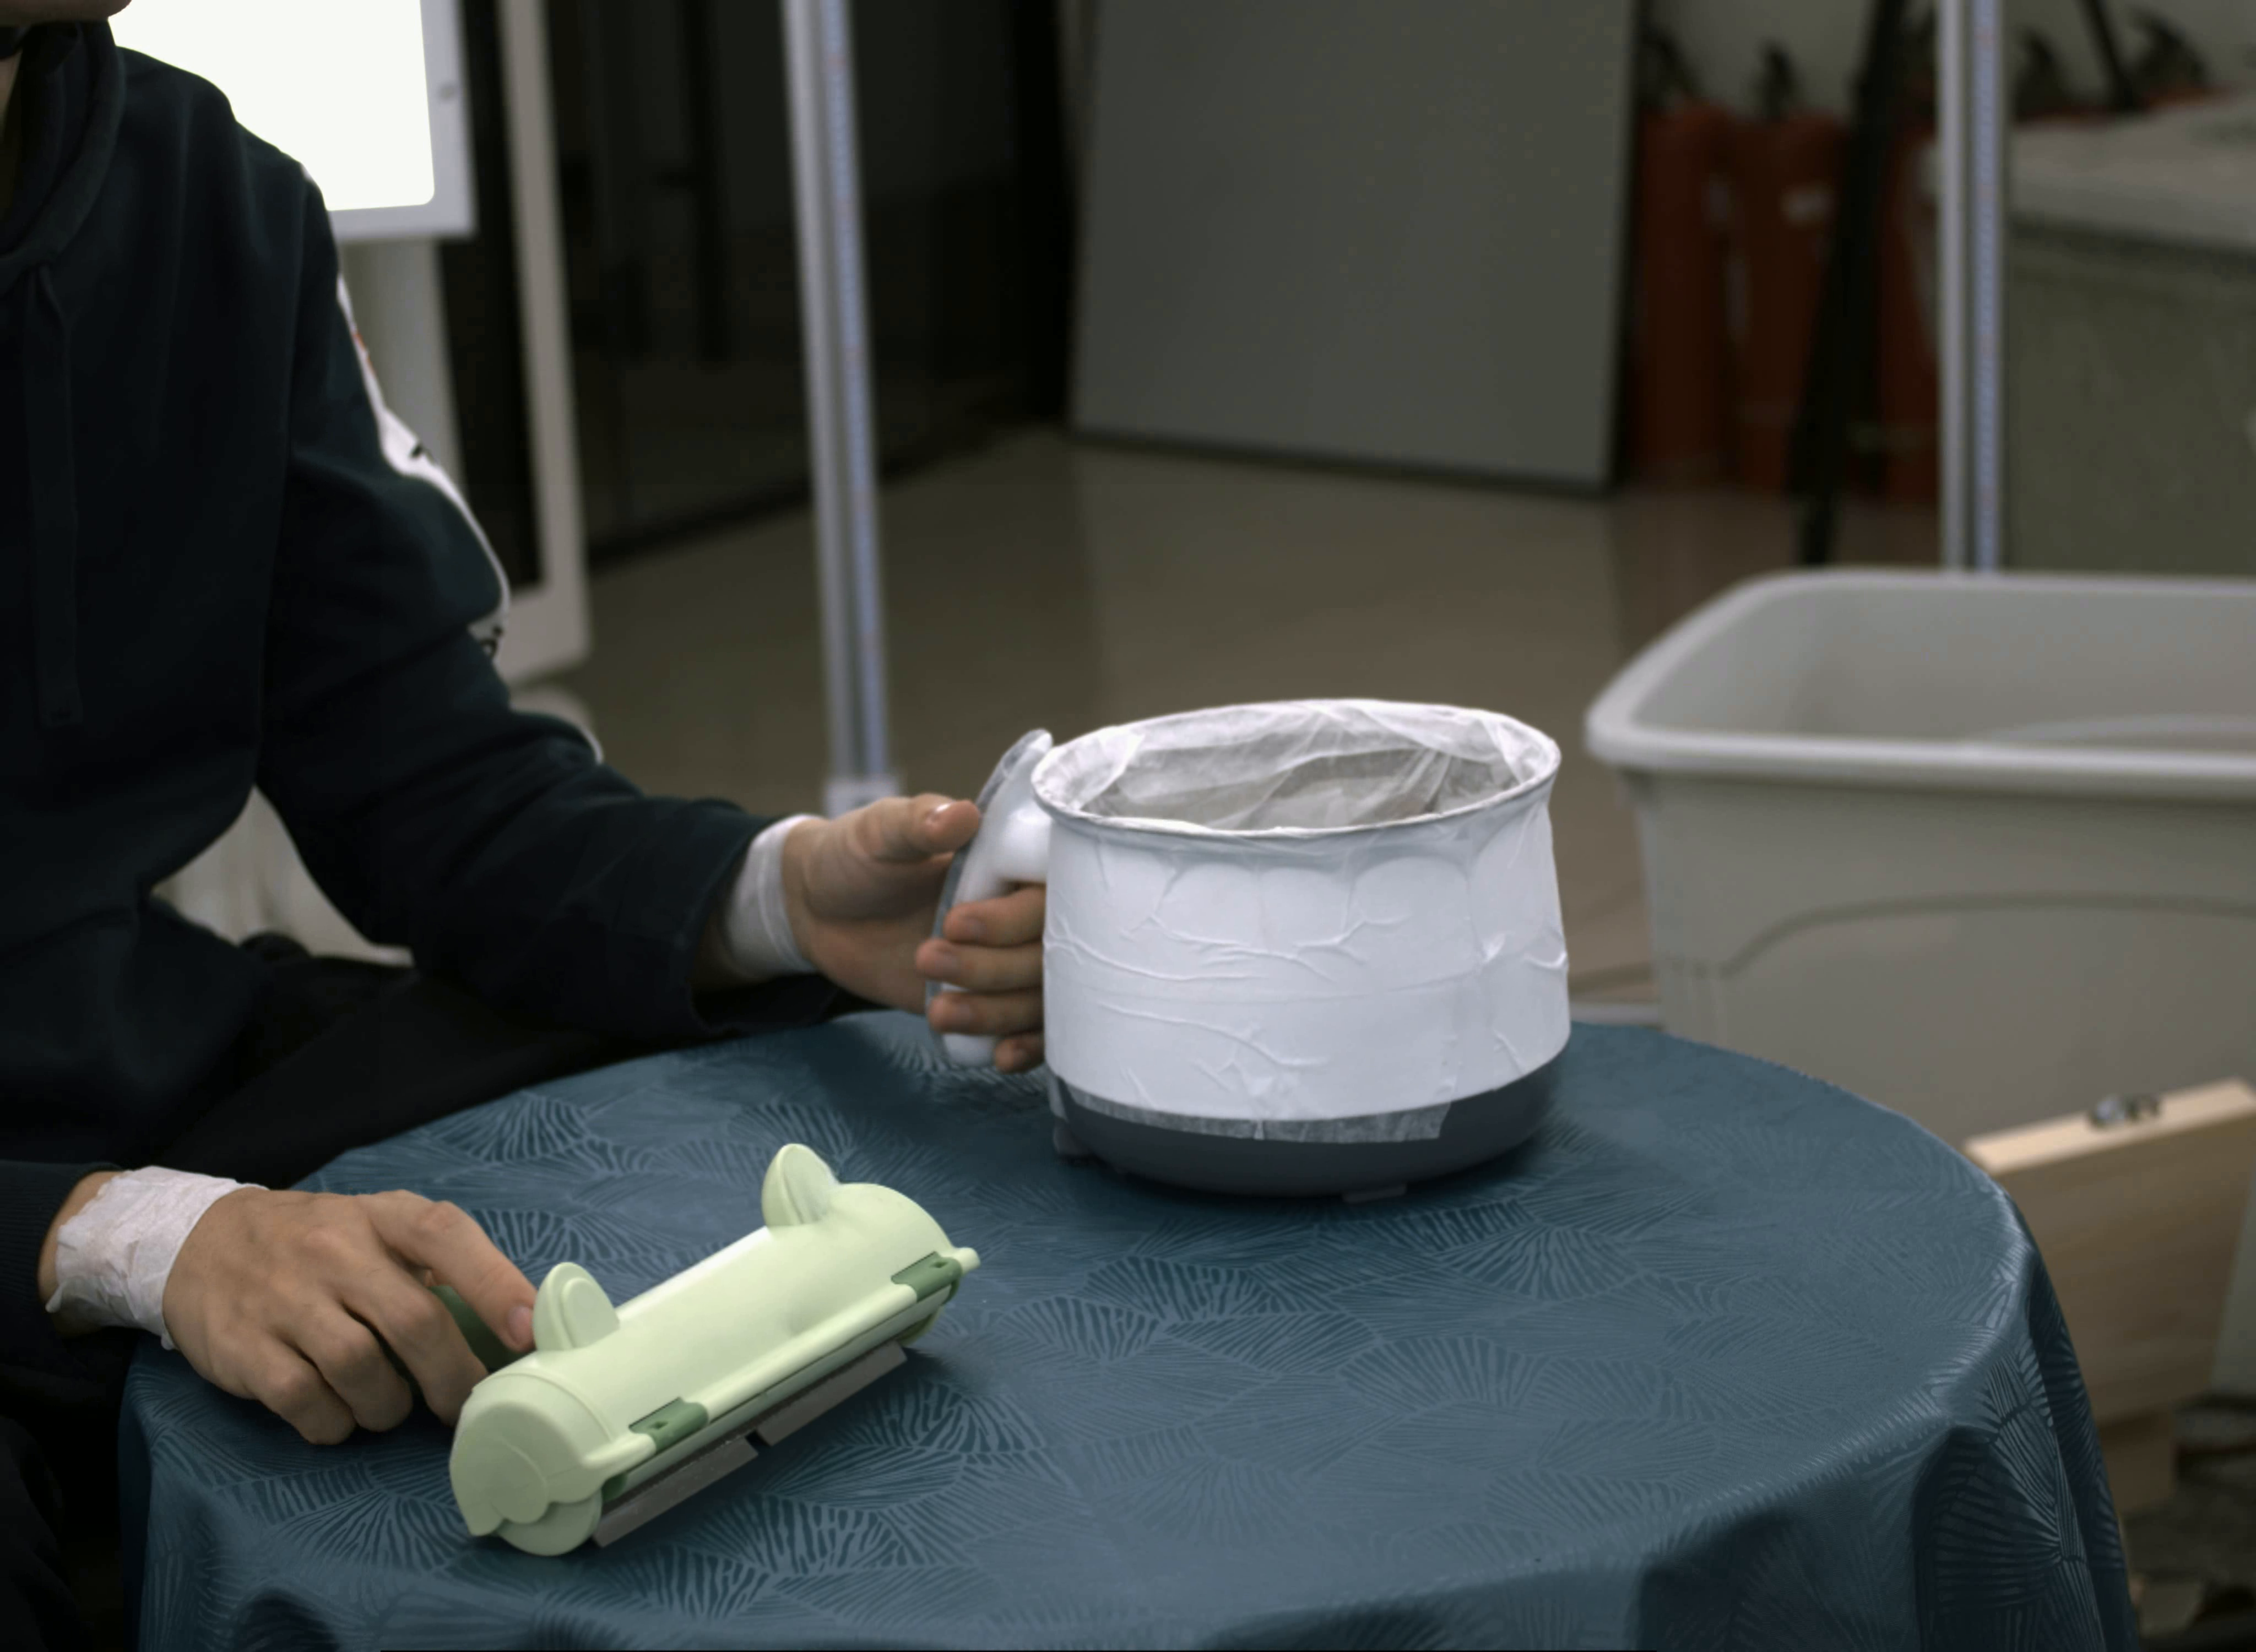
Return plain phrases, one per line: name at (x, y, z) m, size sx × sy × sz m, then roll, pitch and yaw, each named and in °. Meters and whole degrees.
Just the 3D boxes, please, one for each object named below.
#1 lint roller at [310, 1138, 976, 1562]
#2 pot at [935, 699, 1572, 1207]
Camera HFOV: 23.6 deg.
lint roller at (-0.167, 0.140, 1.587) m, size 0.184 × 0.083 × 0.195 m, roll 10°, pitch 19°, yaw 30°
pot at (0.036, 0.039, 1.807) m, size 0.234 × 0.138 × 0.176 m, roll 4°, pitch 15°, yaw 30°
